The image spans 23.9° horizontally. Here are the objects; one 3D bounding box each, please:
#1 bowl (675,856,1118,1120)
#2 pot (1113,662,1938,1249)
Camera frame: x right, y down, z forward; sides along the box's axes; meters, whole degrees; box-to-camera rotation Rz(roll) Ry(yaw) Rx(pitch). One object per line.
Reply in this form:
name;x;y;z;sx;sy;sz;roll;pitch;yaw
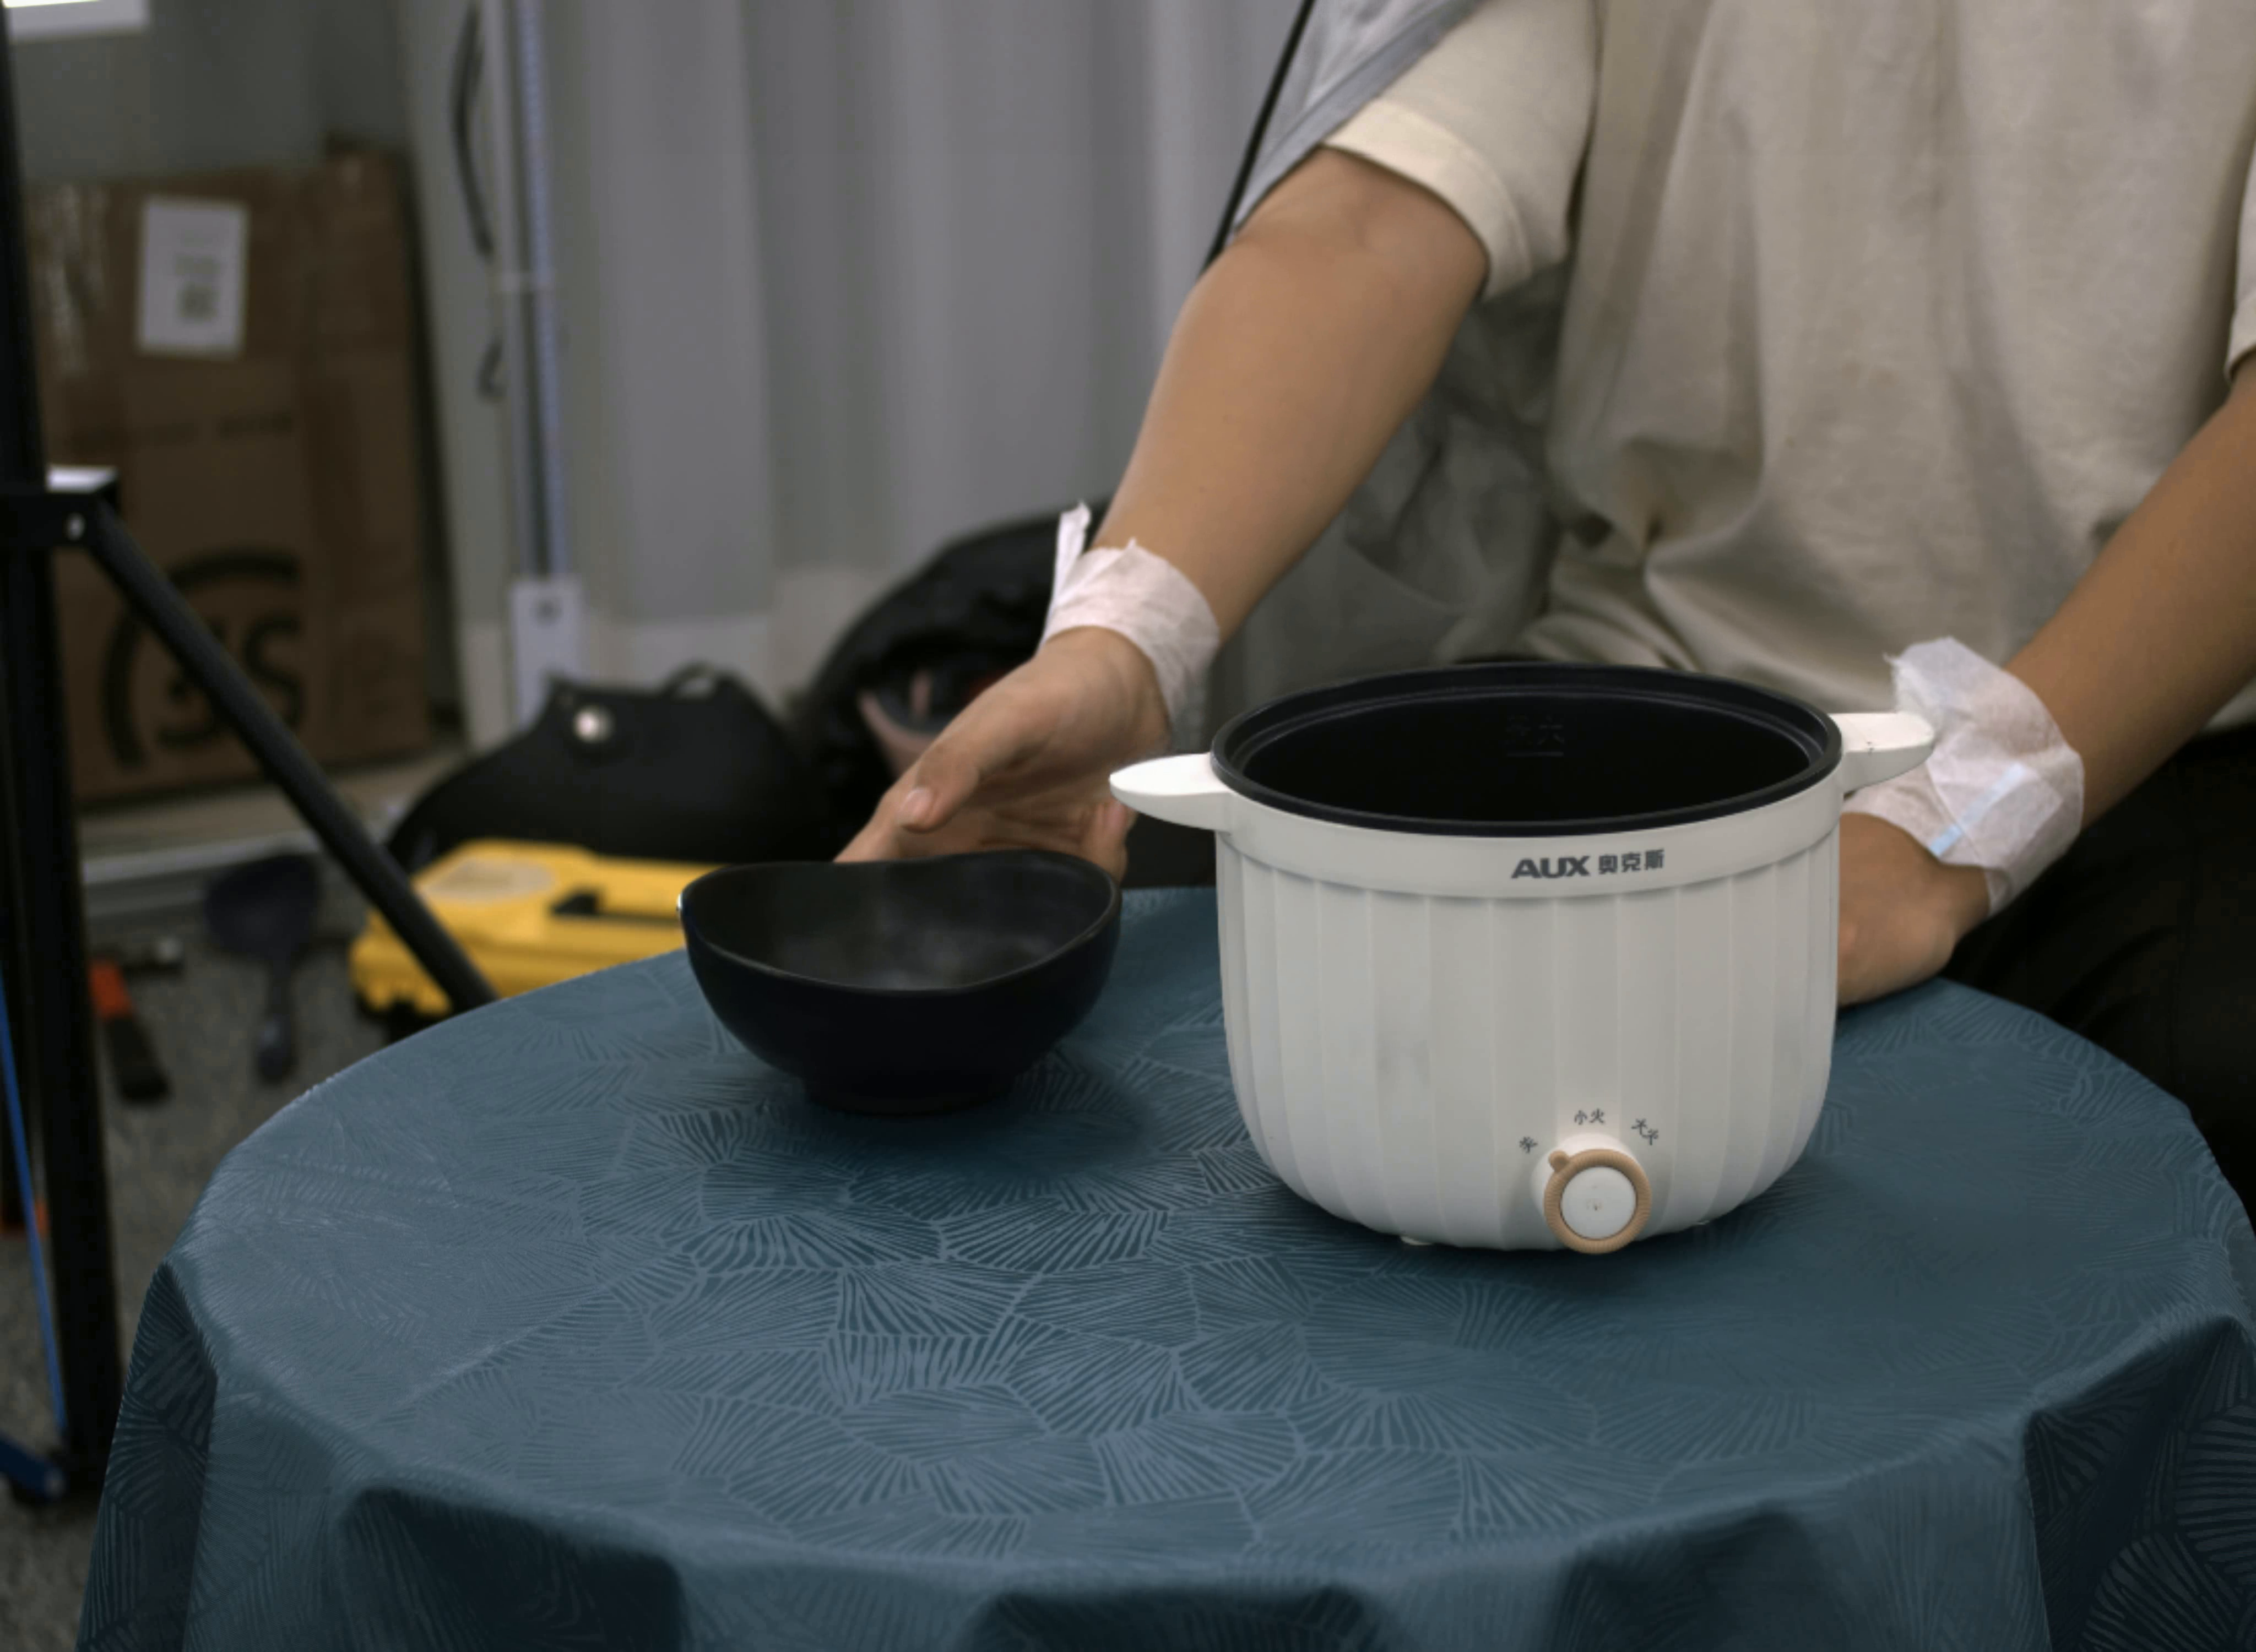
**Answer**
bowl;-0.072;0.051;1.653;0.136;0.067;0.172;-2;15;-6
pot;0.118;0.040;1.524;0.238;0.143;0.192;-4;12;-5
